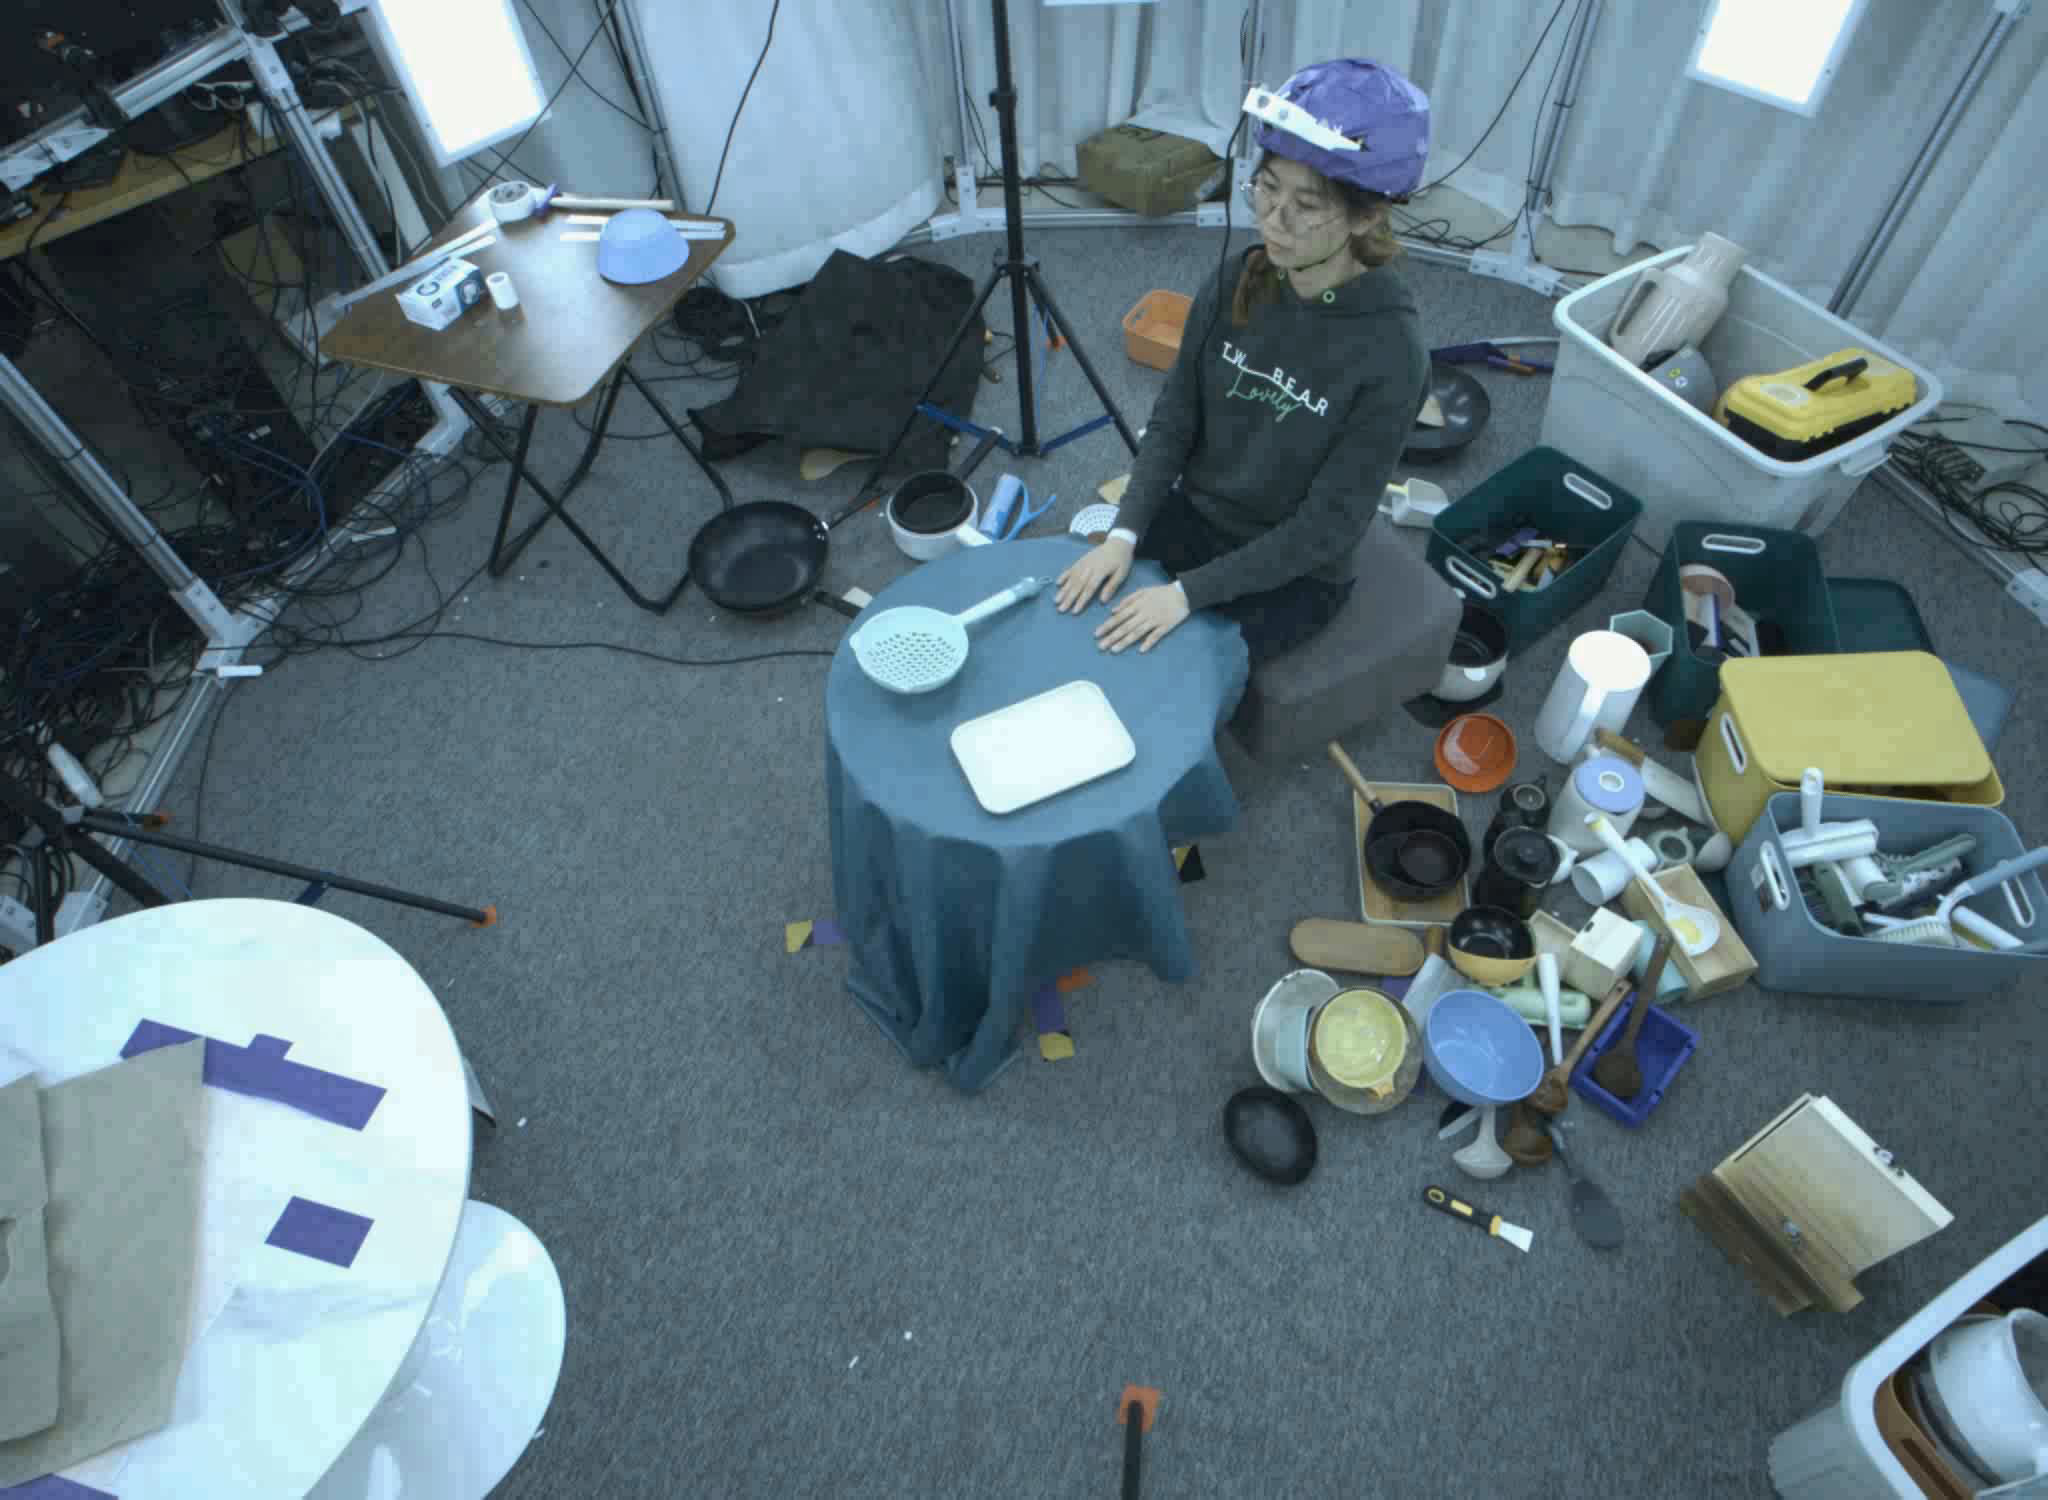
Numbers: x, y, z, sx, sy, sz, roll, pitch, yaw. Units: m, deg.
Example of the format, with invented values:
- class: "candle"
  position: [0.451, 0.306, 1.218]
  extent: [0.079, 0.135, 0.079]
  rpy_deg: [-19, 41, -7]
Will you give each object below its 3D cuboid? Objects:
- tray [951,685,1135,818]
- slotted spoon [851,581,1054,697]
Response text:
- class: "tray"
  position: [0.028, 0.001, 1.786]
  extent: [0.241, 0.017, 0.168]
  rpy_deg: [-21, 57, -14]
- class: "slotted spoon"
  position: [-0.094, -0.190, 1.895]
  extent: [0.361, 0.076, 0.166]
  rpy_deg: [-36, 62, -22]
